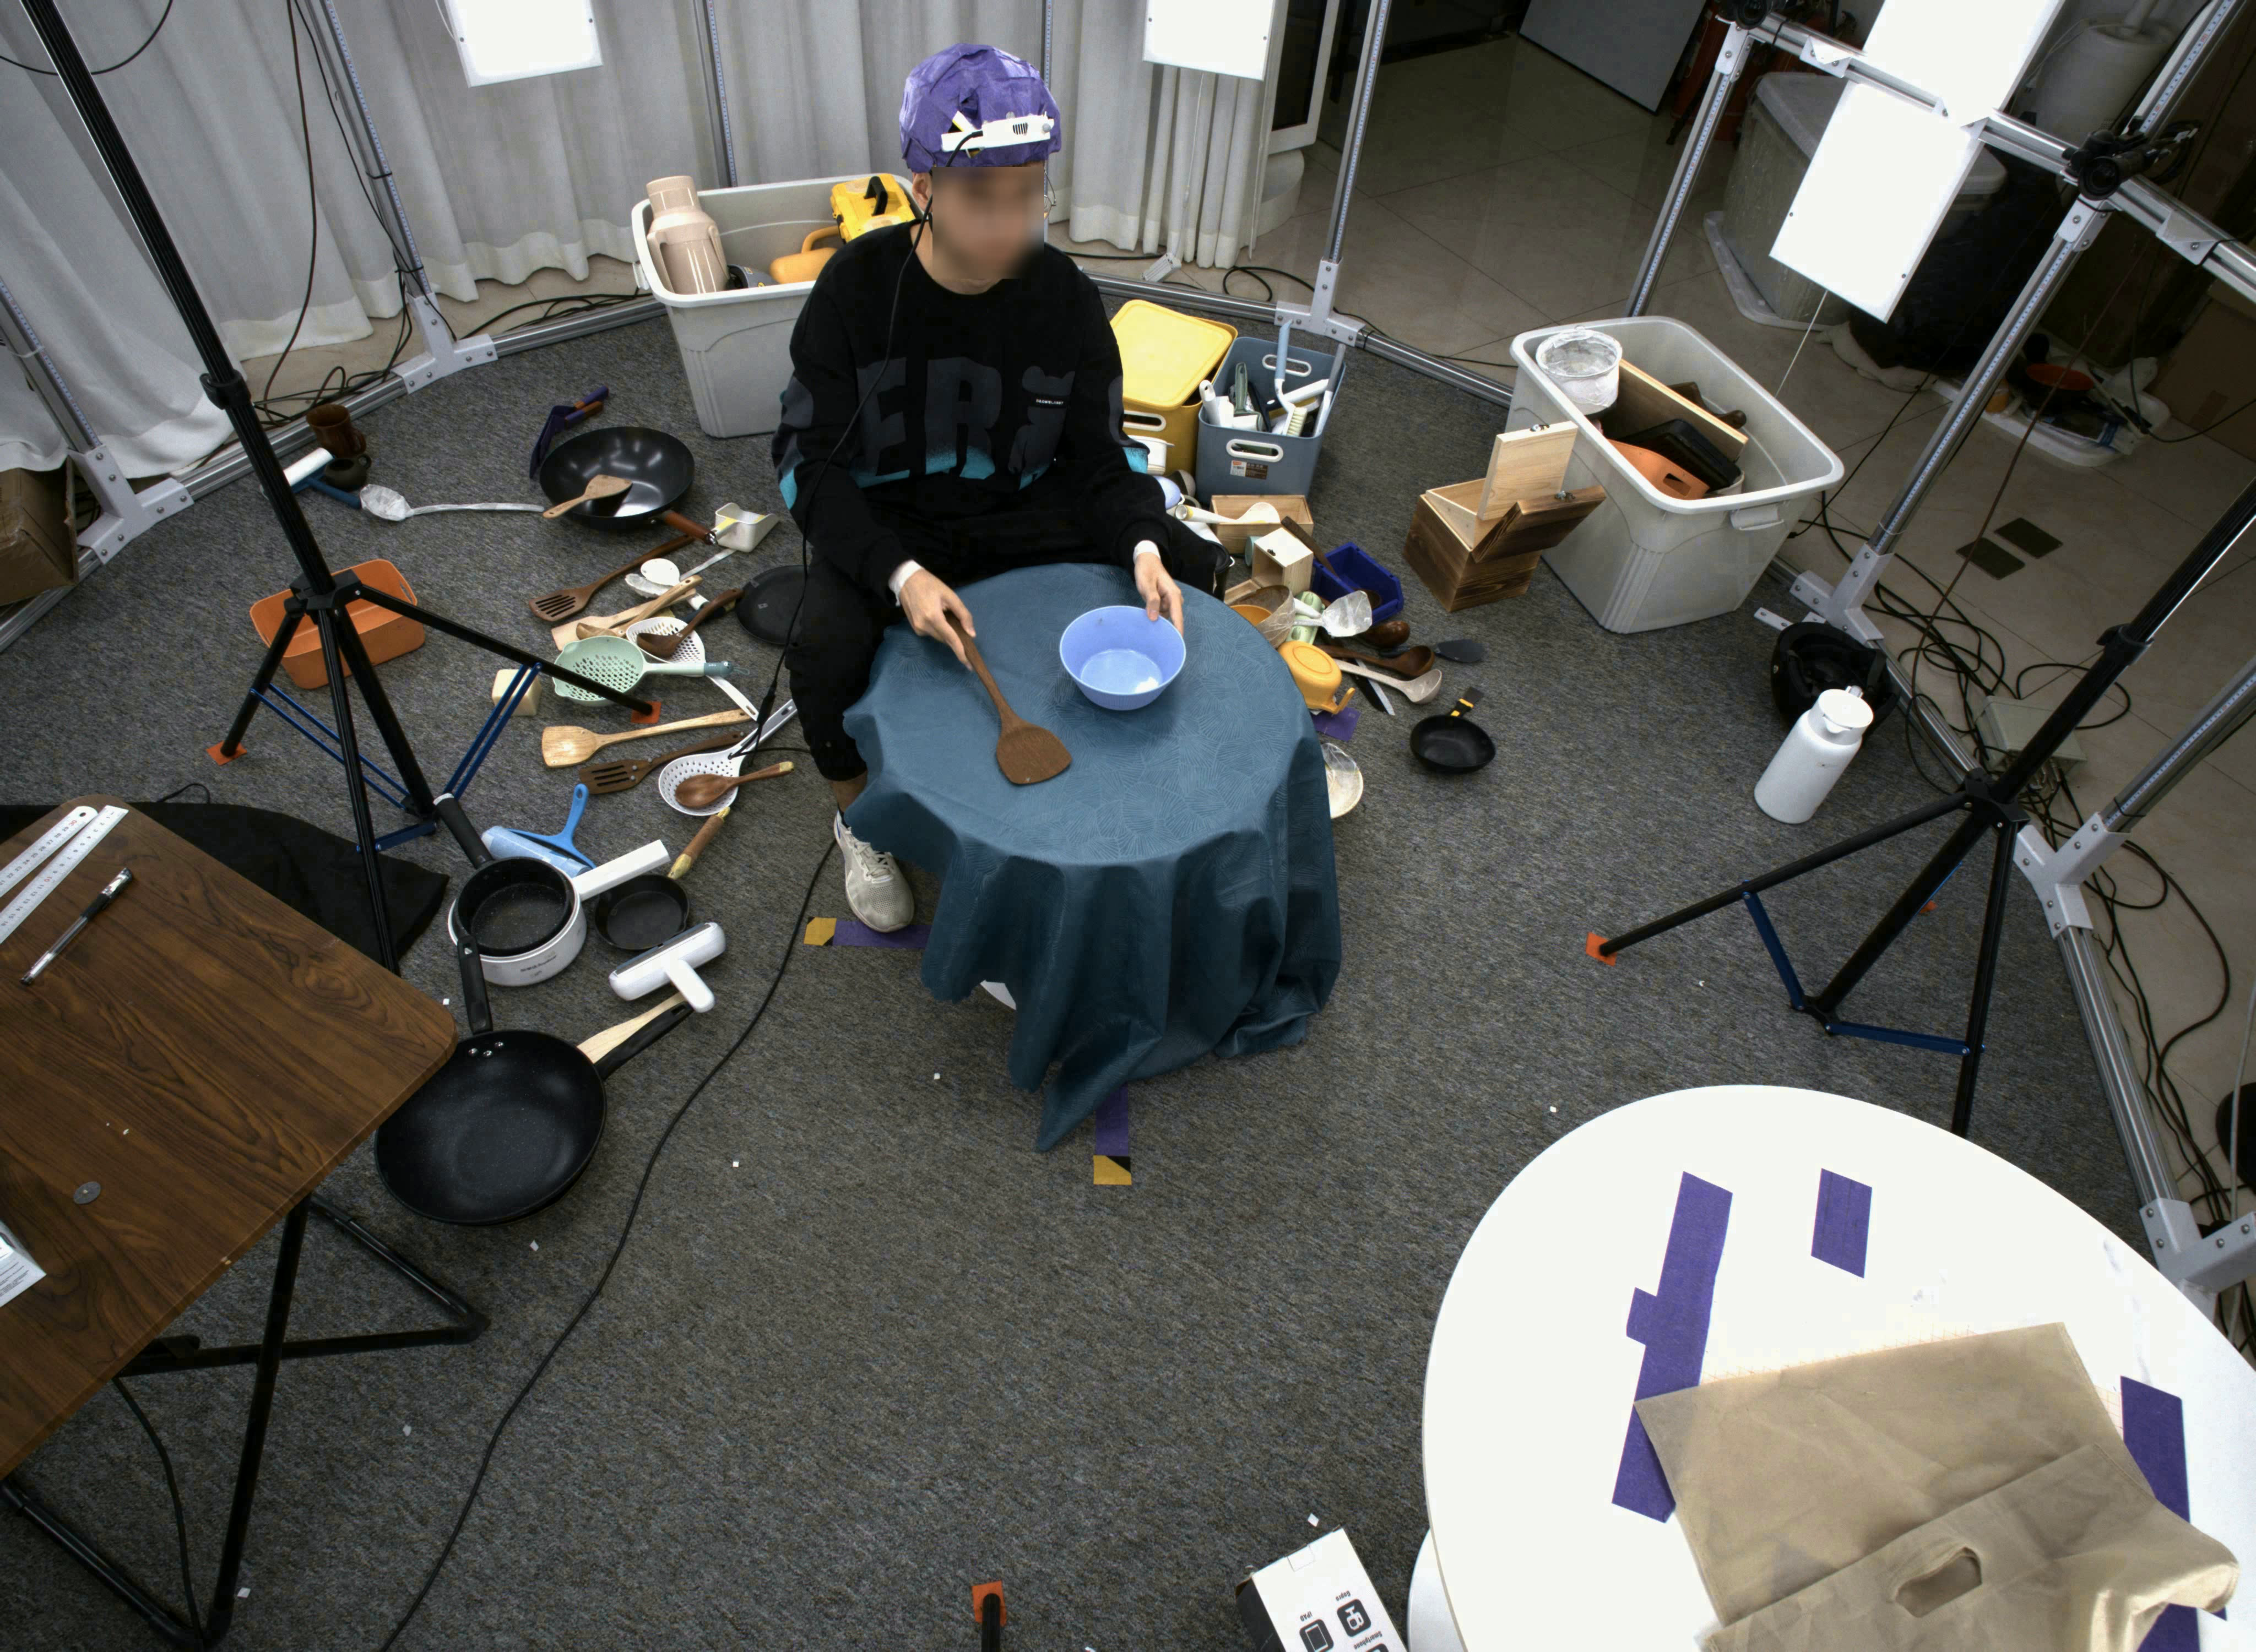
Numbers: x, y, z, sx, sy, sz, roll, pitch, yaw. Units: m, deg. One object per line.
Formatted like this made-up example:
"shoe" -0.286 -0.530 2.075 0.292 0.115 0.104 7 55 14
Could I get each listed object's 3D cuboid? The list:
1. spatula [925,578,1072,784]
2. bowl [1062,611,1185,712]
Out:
"spatula" -0.200 -0.214 1.815 0.096 0.015 0.393 -21 63 -20
"bowl" -0.008 -0.226 1.834 0.176 0.068 0.180 1 49 -2
